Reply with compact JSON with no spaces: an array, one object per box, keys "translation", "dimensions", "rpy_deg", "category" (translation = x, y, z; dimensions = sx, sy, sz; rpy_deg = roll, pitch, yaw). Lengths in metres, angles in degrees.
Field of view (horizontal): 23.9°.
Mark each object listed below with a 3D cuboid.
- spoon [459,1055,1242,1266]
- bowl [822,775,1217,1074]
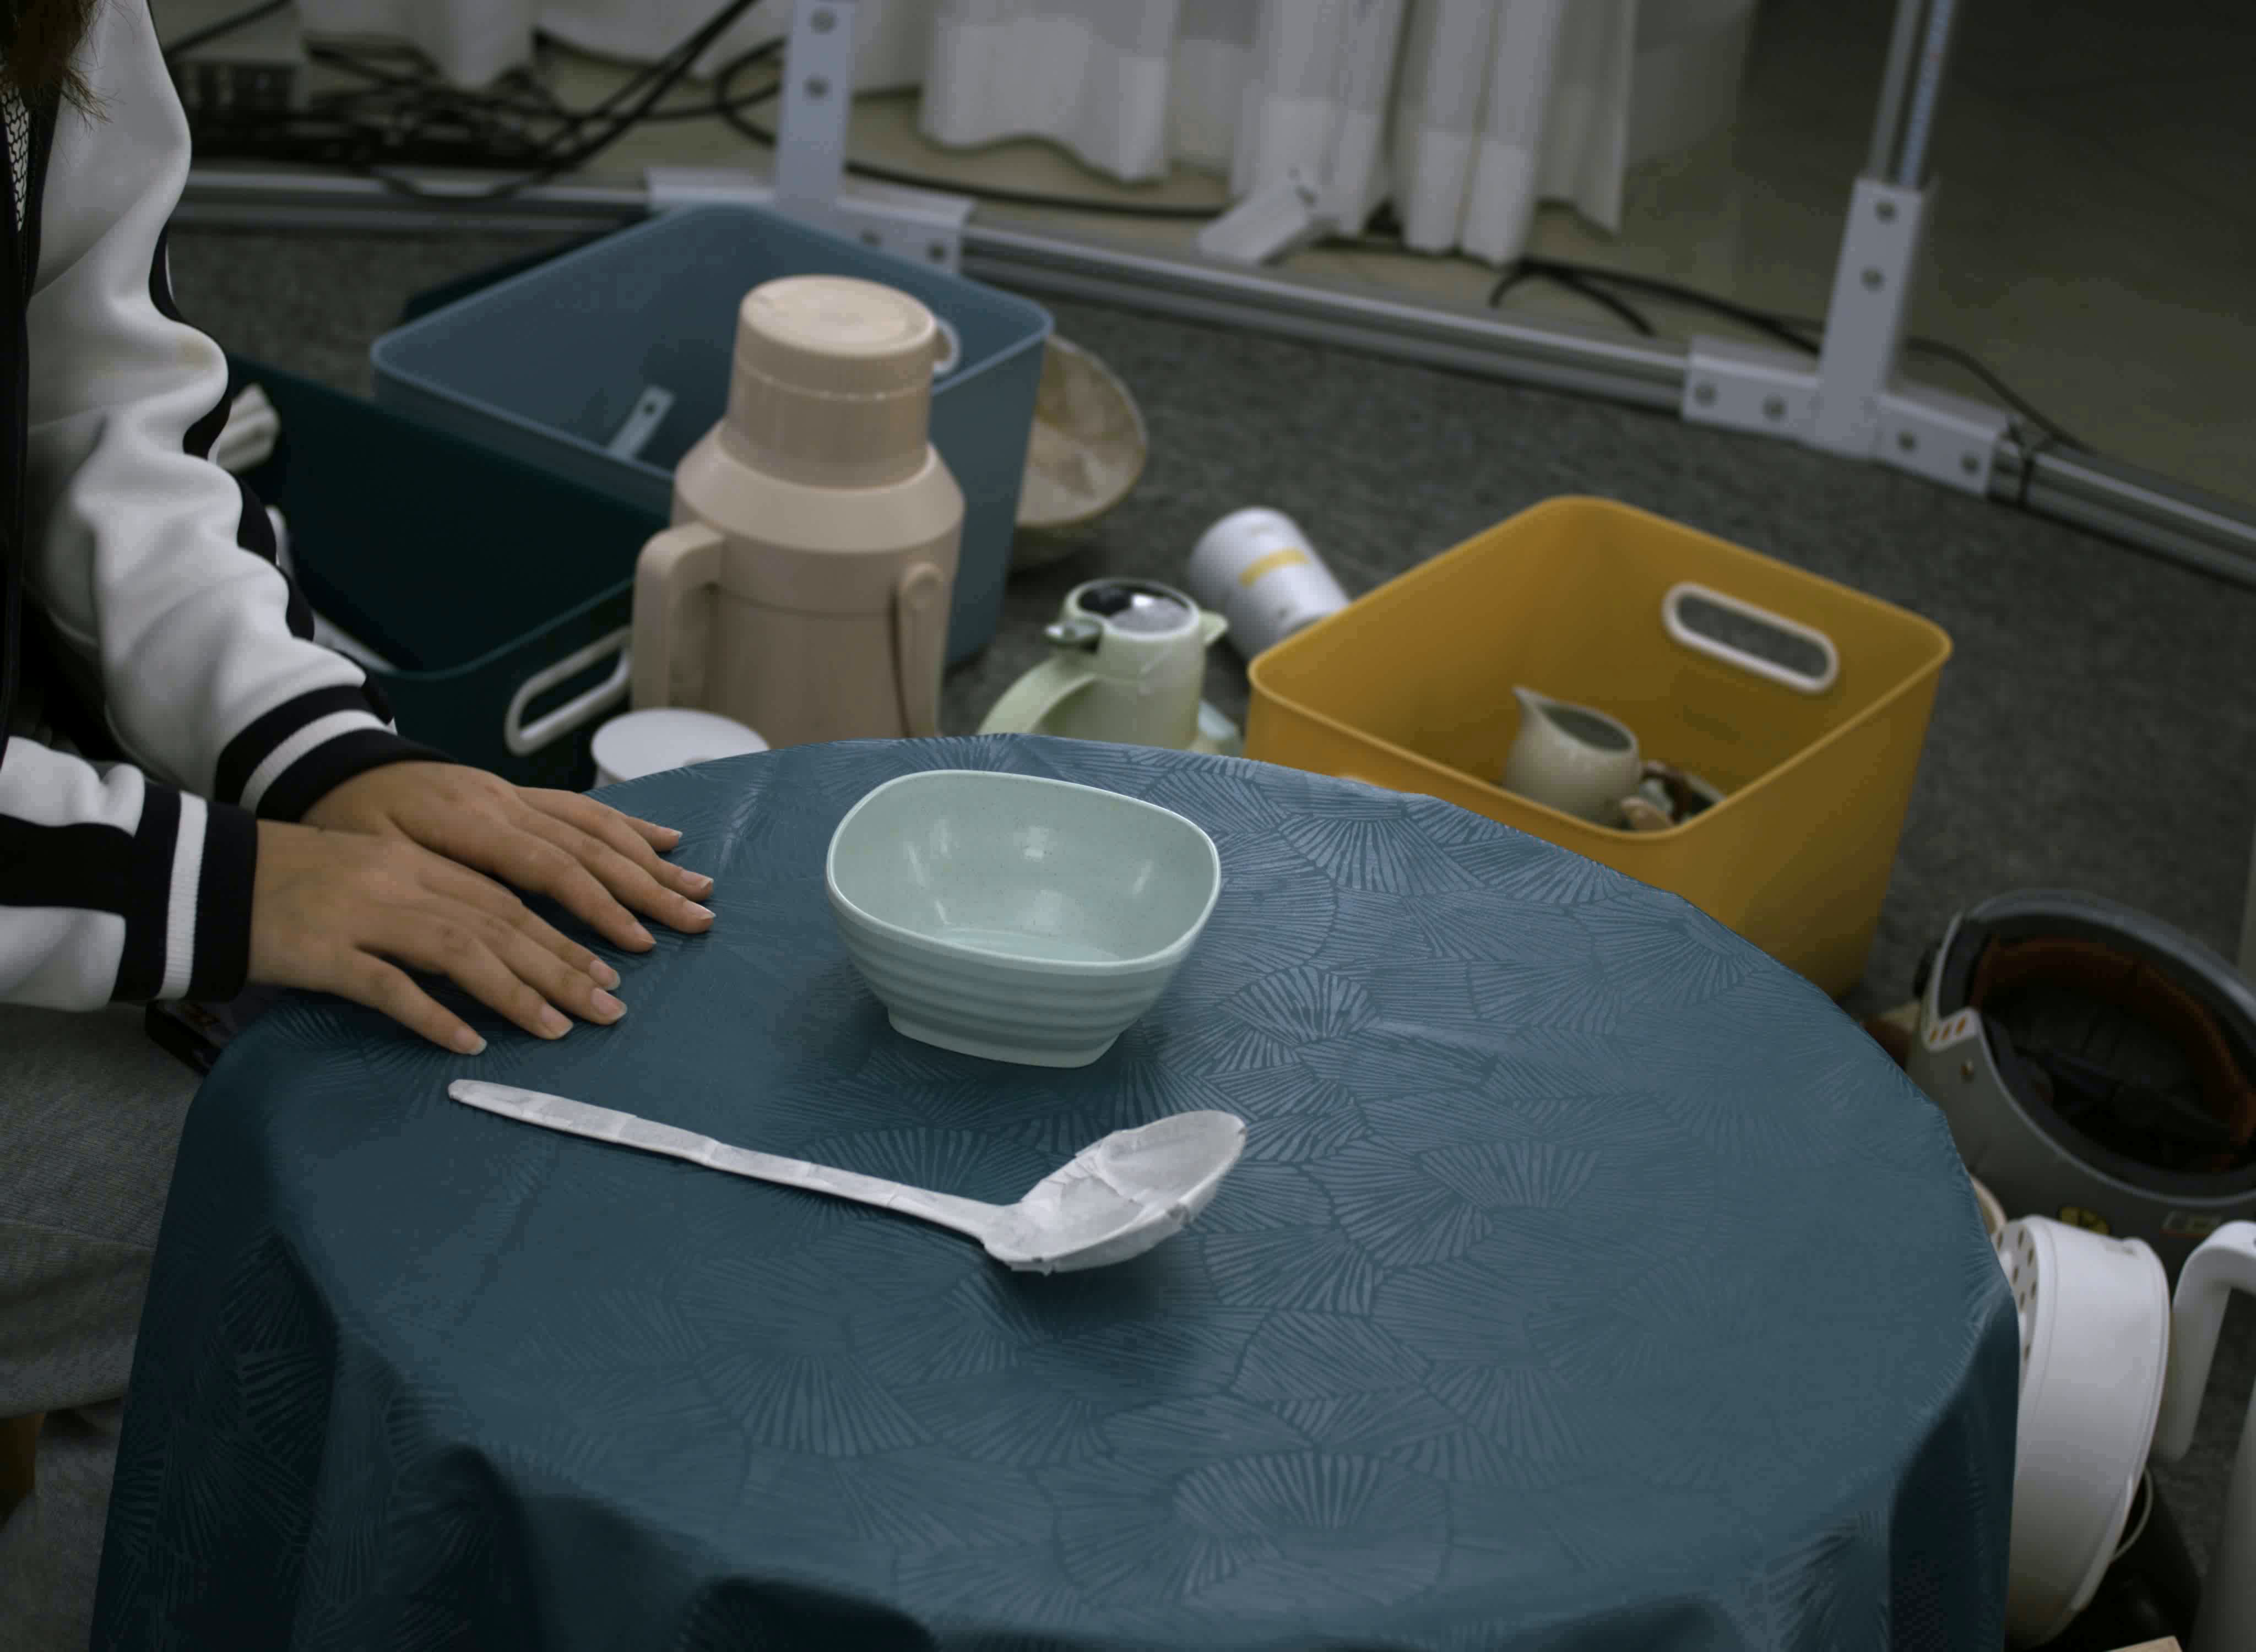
[{"translation":[-0.096,0.092,1.779],"dimensions":[0.278,0.059,0.100],"rpy_deg":[15,23,17],"category":"spoon"},{"translation":[-0.041,0.041,1.898],"dimensions":[0.151,0.058,0.152],"rpy_deg":[5,27,-3],"category":"bowl"}]
